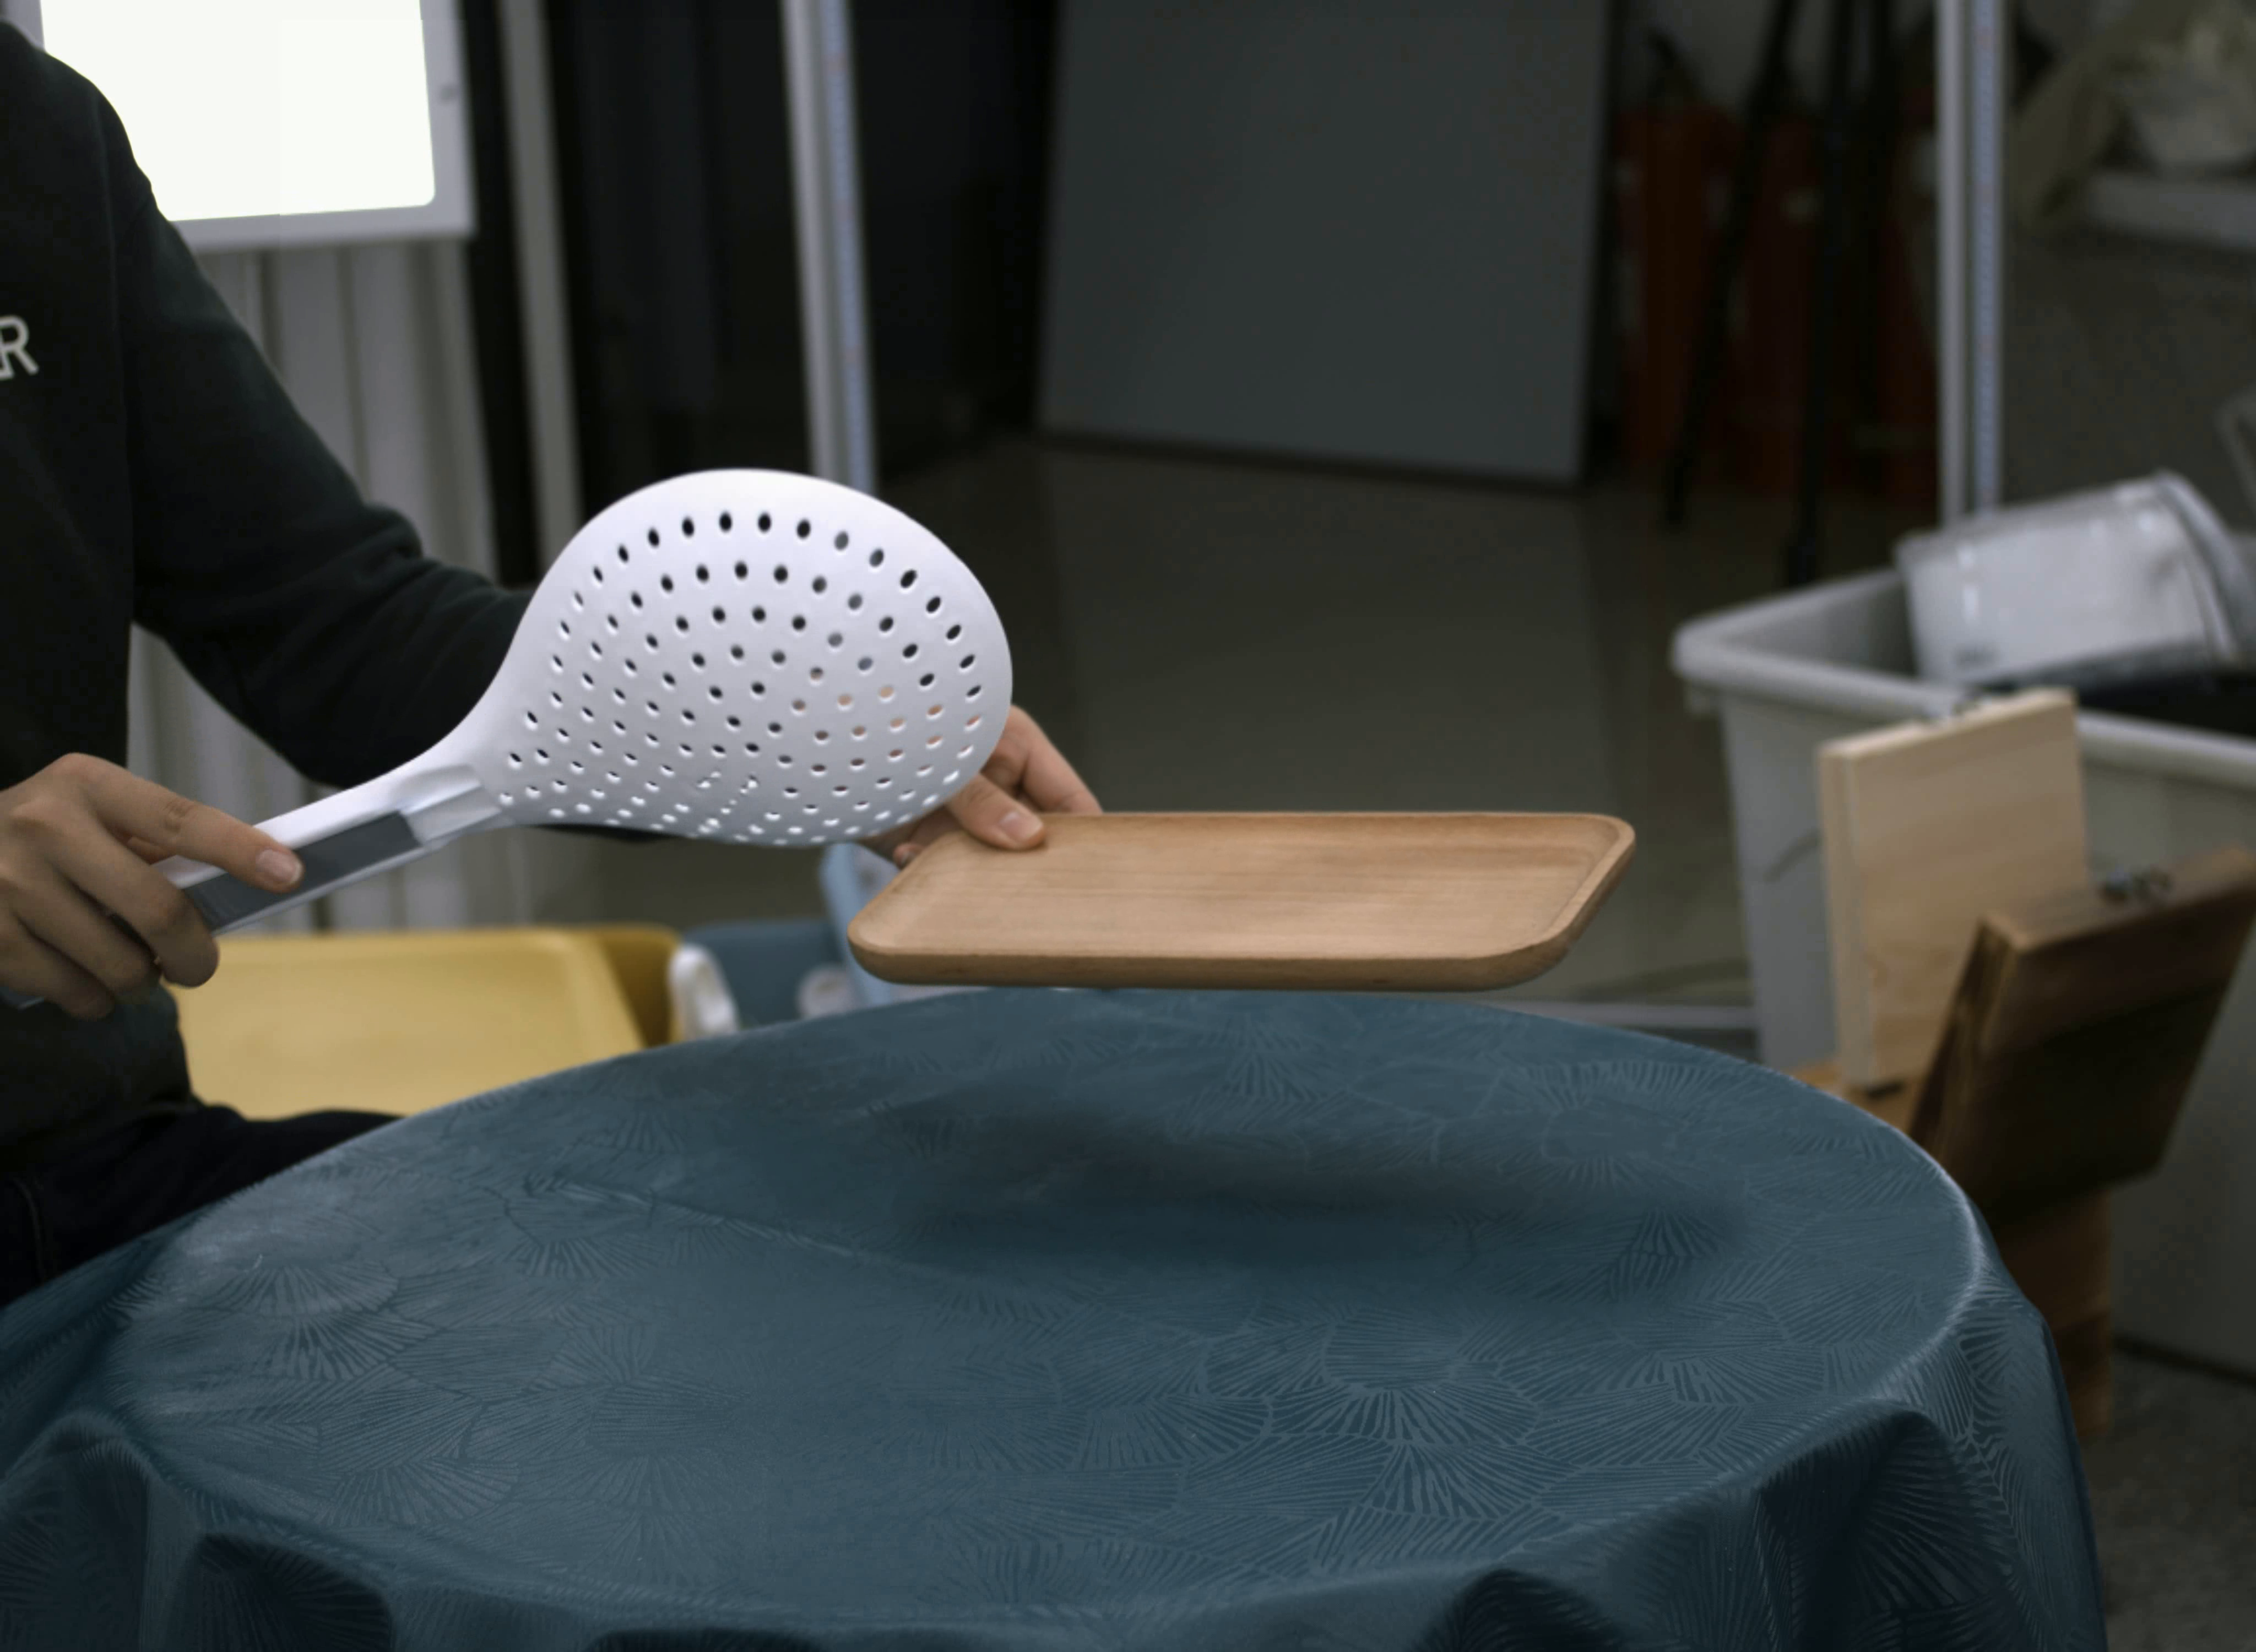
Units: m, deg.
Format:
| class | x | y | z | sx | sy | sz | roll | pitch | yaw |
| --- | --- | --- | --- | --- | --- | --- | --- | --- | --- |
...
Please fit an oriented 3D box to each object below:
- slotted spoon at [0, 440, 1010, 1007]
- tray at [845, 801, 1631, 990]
| class | x | y | z | sx | sy | sz | roll | pitch | yaw |
| --- | --- | --- | --- | --- | --- | --- | --- | --- | --- |
| slotted spoon | -0.192 | -0.013 | 1.562 | 0.351 | 0.135 | 0.046 | -18 | 36 | 29 |
| tray | 0.036 | 0.023 | 1.760 | 0.251 | 0.023 | 0.129 | -2 | 19 | 25 |
